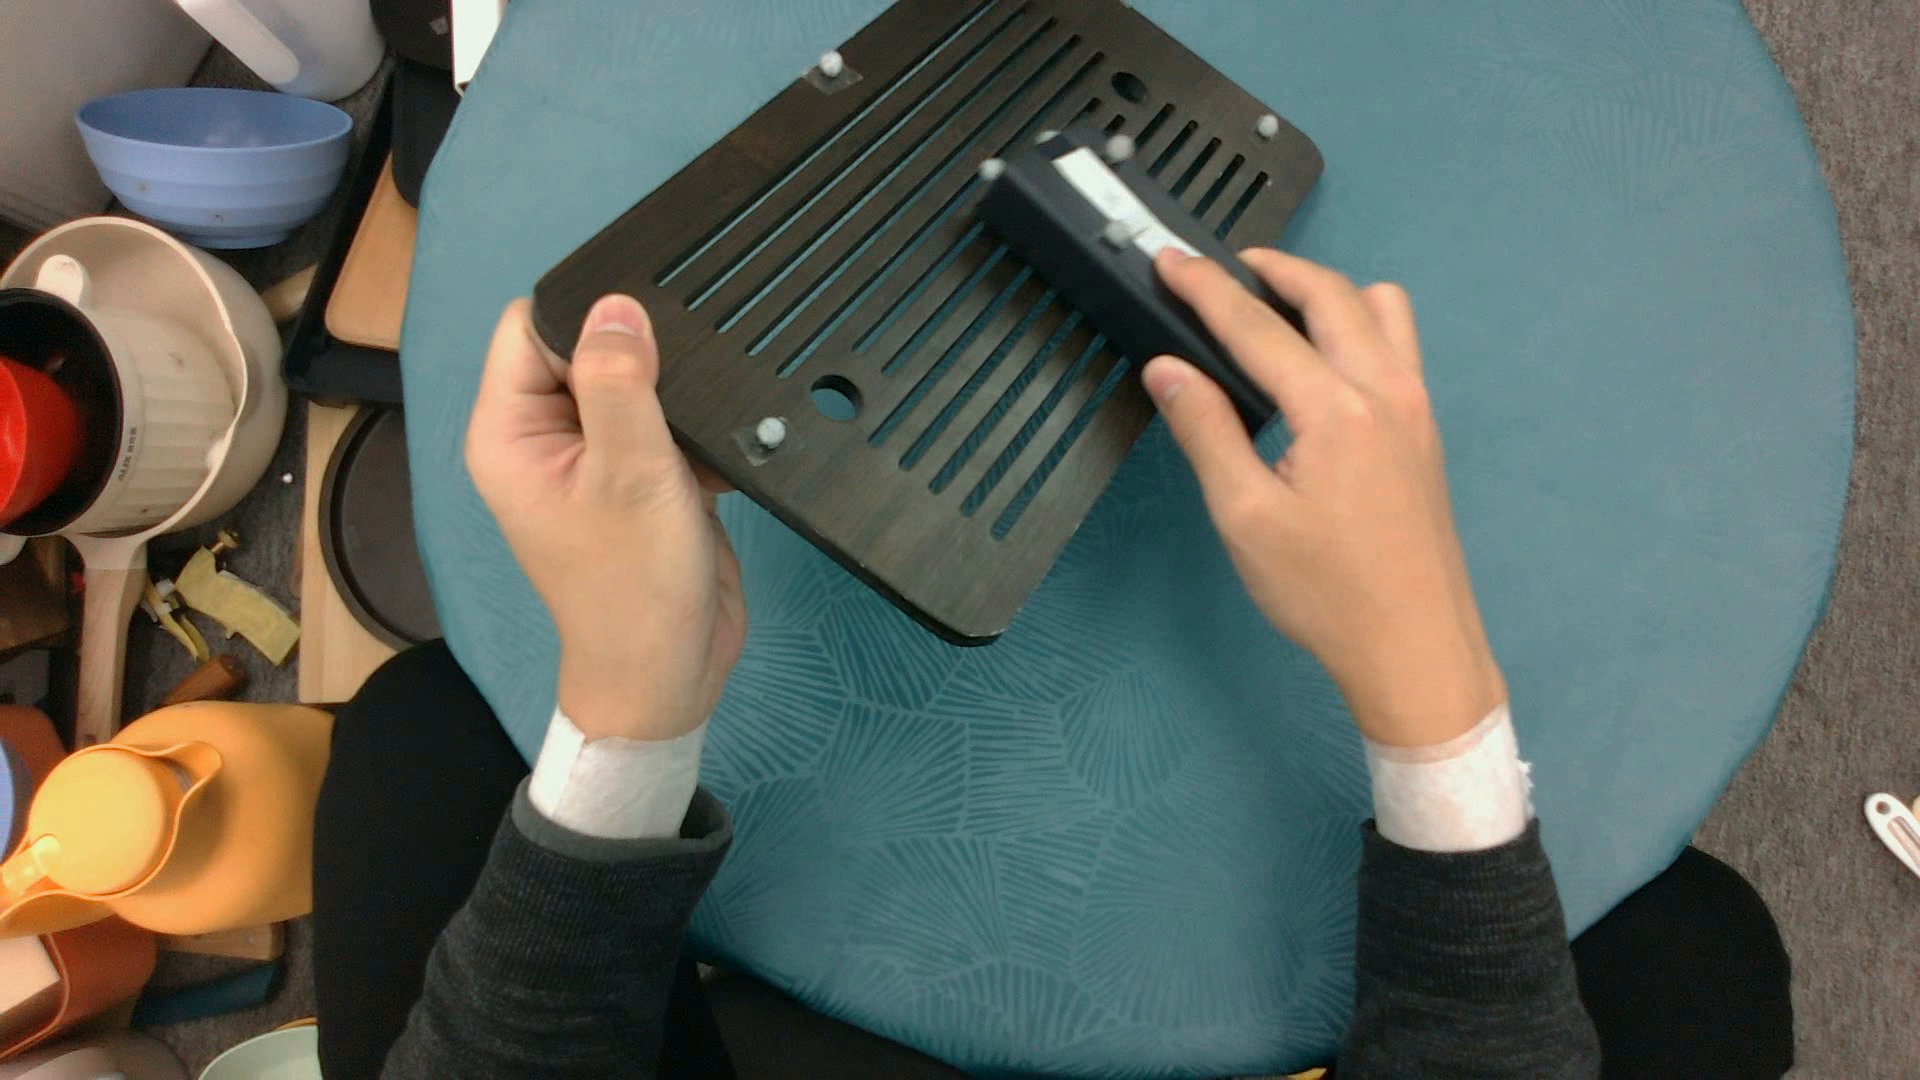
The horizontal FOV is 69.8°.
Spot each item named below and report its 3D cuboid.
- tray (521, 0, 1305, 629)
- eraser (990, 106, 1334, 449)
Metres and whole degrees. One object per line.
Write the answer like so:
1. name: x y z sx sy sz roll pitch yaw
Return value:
1. tray: 0.006 -0.114 0.491 0.170 0.018 0.307 37 52 1
2. eraser: 0.070 -0.092 0.481 0.125 0.030 0.054 47 55 7
